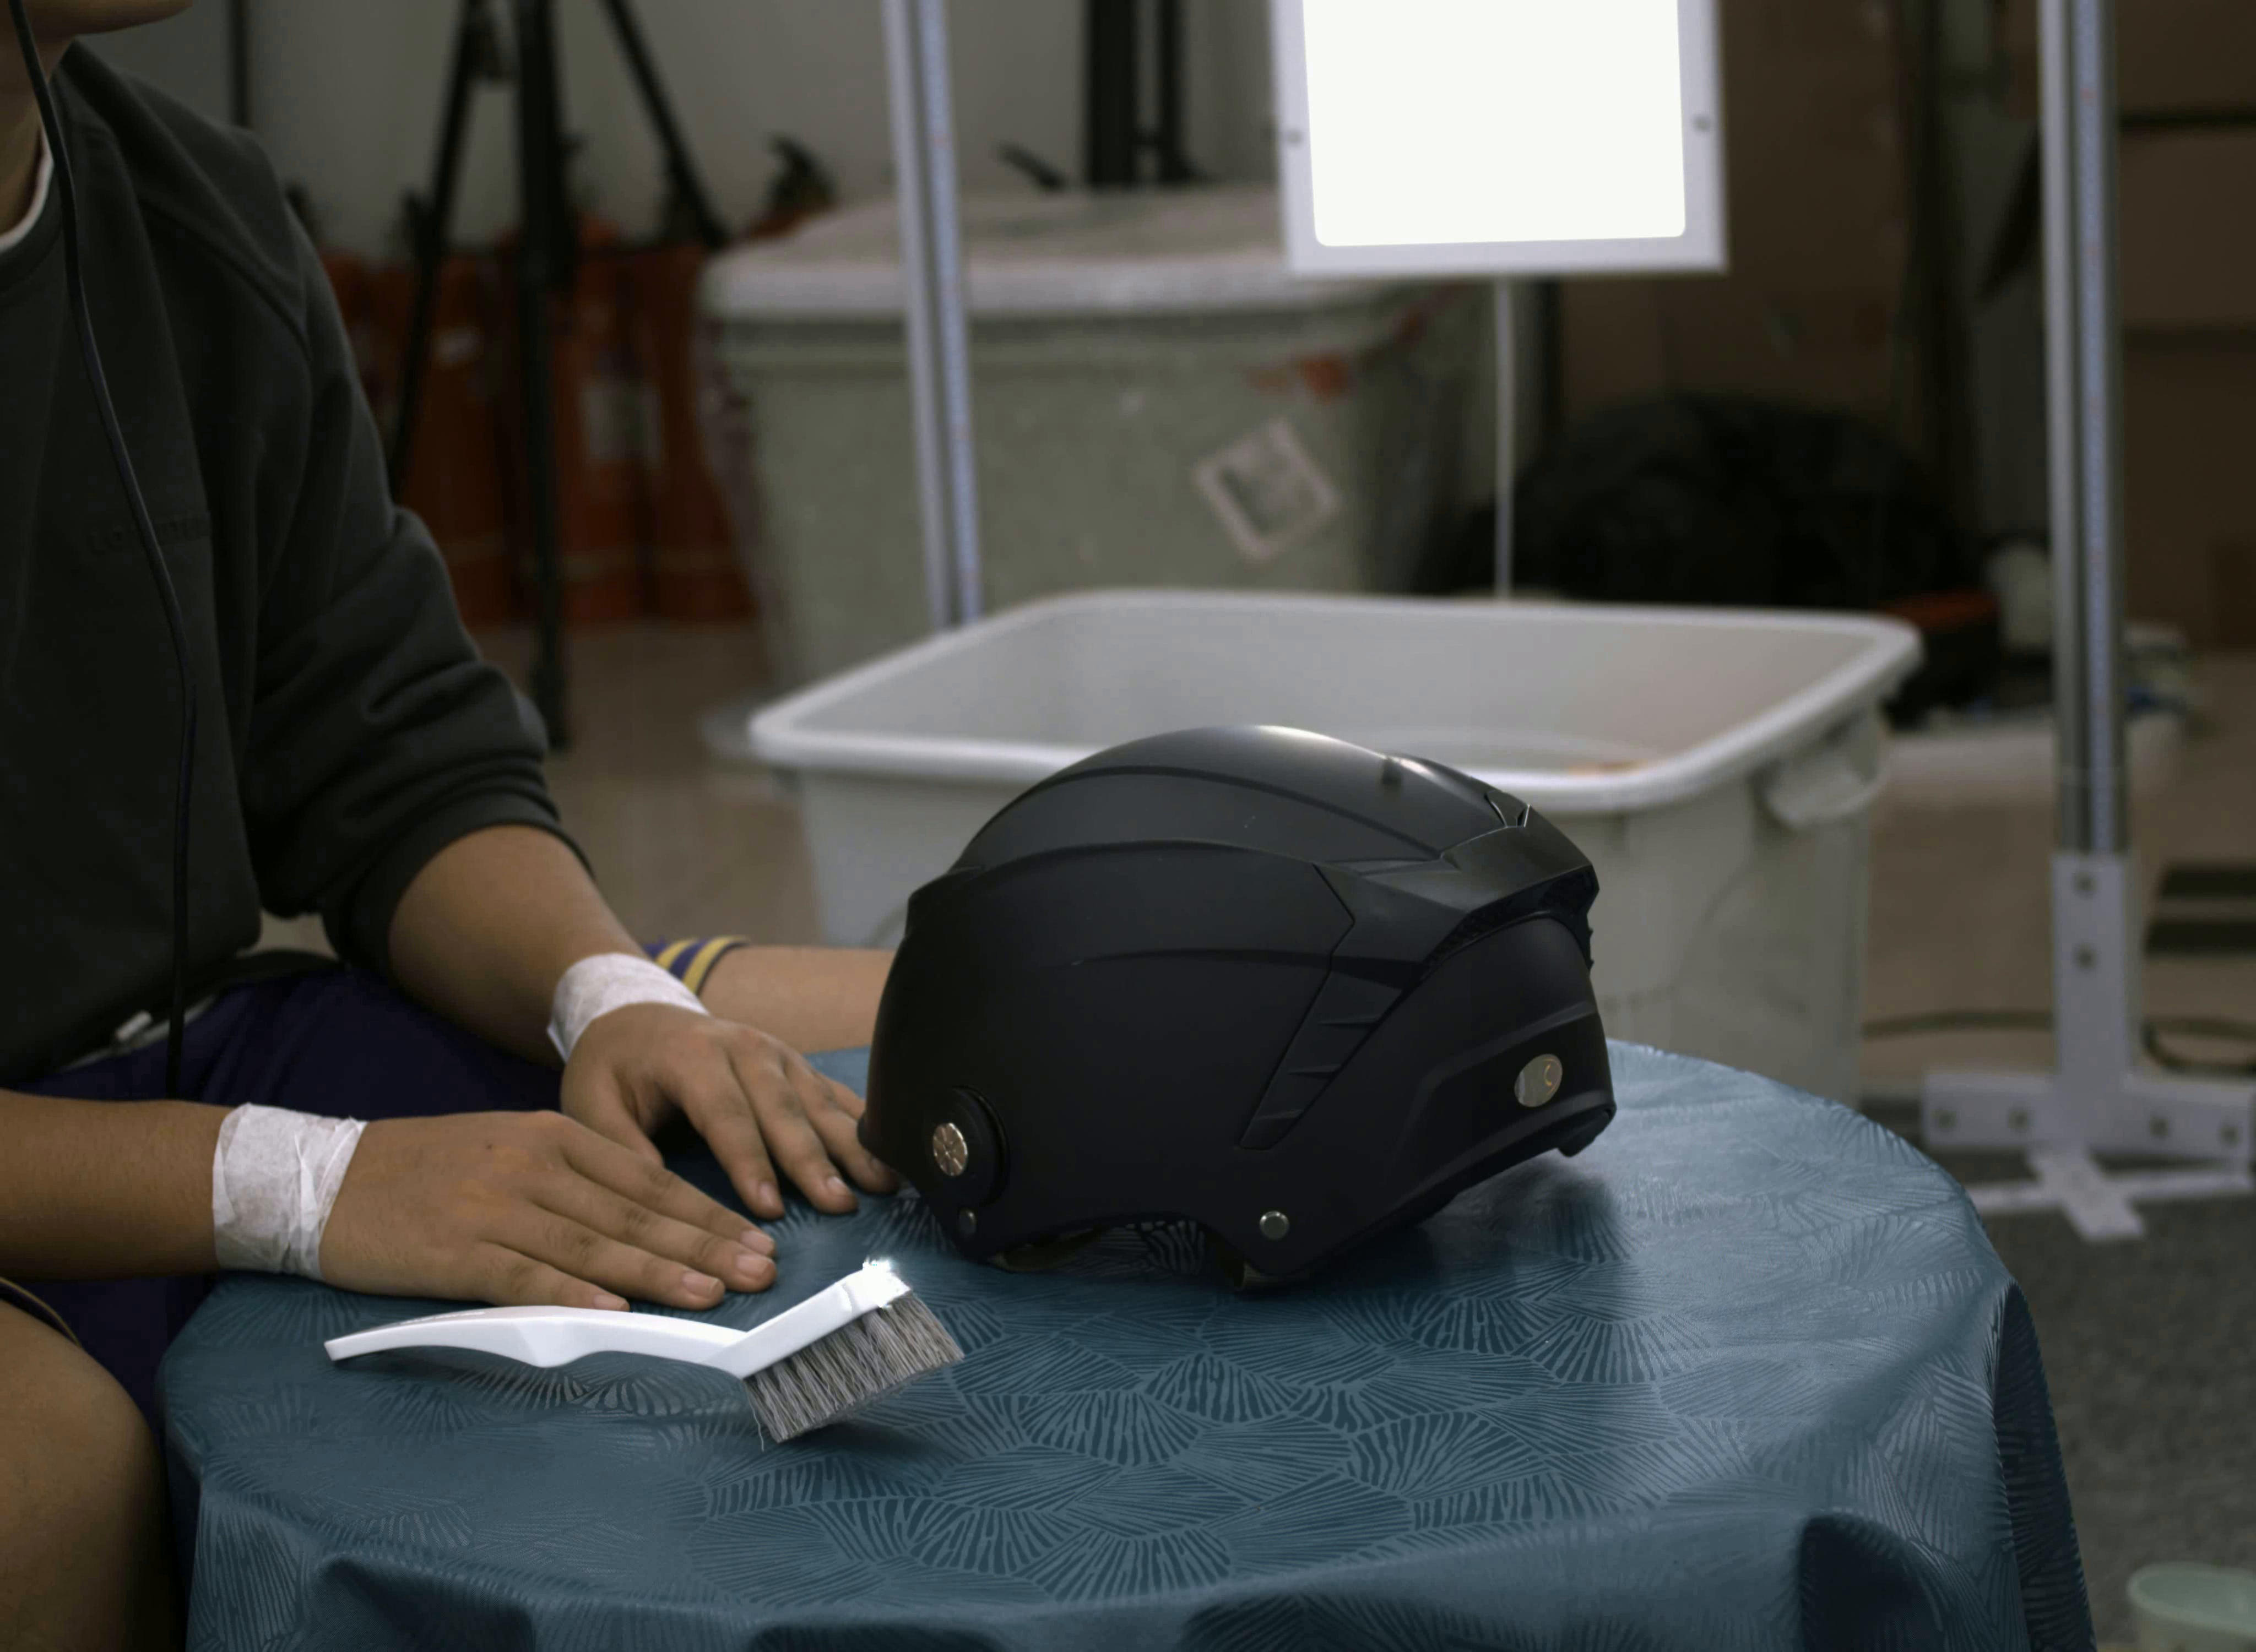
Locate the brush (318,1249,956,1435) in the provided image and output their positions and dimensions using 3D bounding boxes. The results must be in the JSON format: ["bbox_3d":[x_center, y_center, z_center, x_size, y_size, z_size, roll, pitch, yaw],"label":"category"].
[{"bbox_3d":[-0.157,0.171,1.727,0.249,0.050,0.033,-12,1,36],"label":"brush"}]

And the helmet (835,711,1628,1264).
[{"bbox_3d":[0.035,0.048,1.869,0.282,0.173,0.240,11,20,43],"label":"helmet"}]
